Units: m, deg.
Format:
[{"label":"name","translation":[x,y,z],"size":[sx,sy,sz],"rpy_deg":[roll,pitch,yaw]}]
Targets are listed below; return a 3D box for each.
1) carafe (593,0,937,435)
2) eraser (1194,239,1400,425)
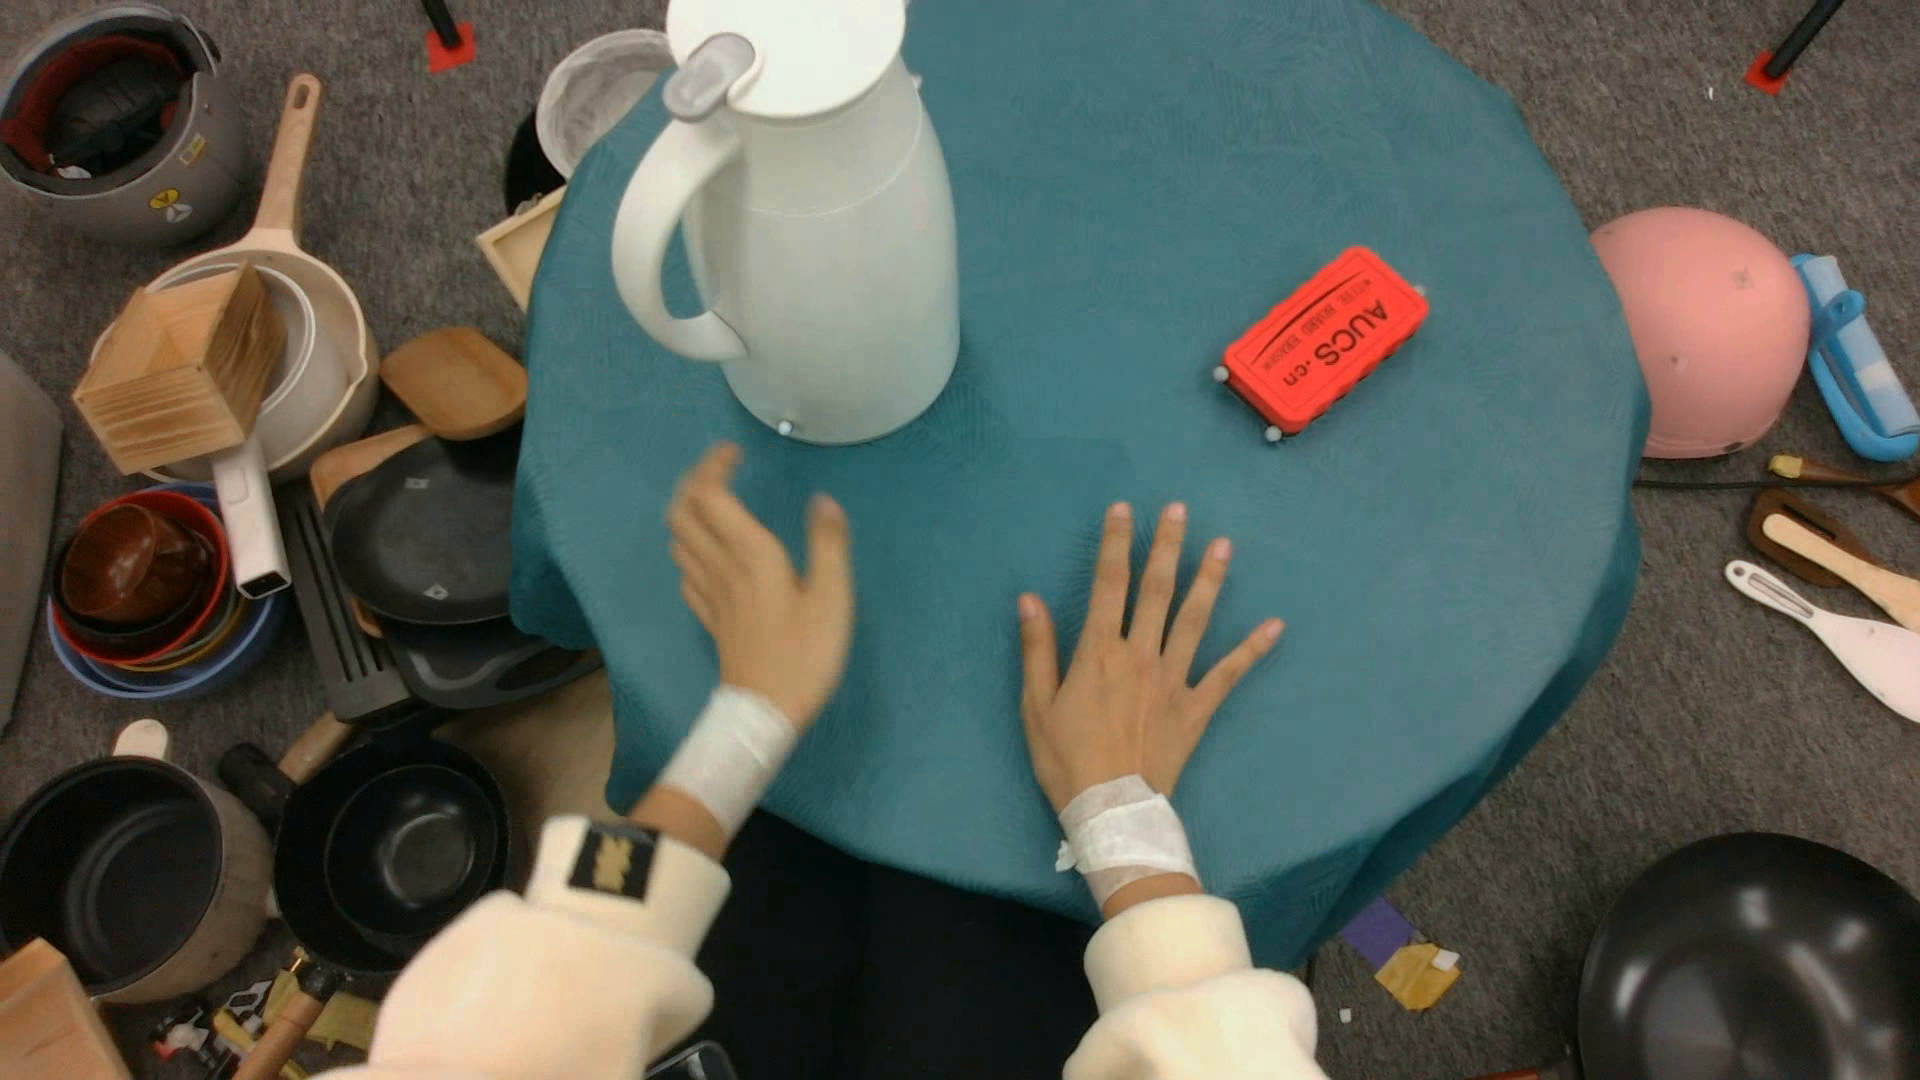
[{"label":"carafe","translation":[-0.089,-0.147,0.634],"size":[0.132,0.248,0.168],"rpy_deg":[41,74,14]},{"label":"eraser","translation":[0.183,-0.114,0.748],"size":[0.108,0.023,0.059],"rpy_deg":[-39,73,-15]}]
